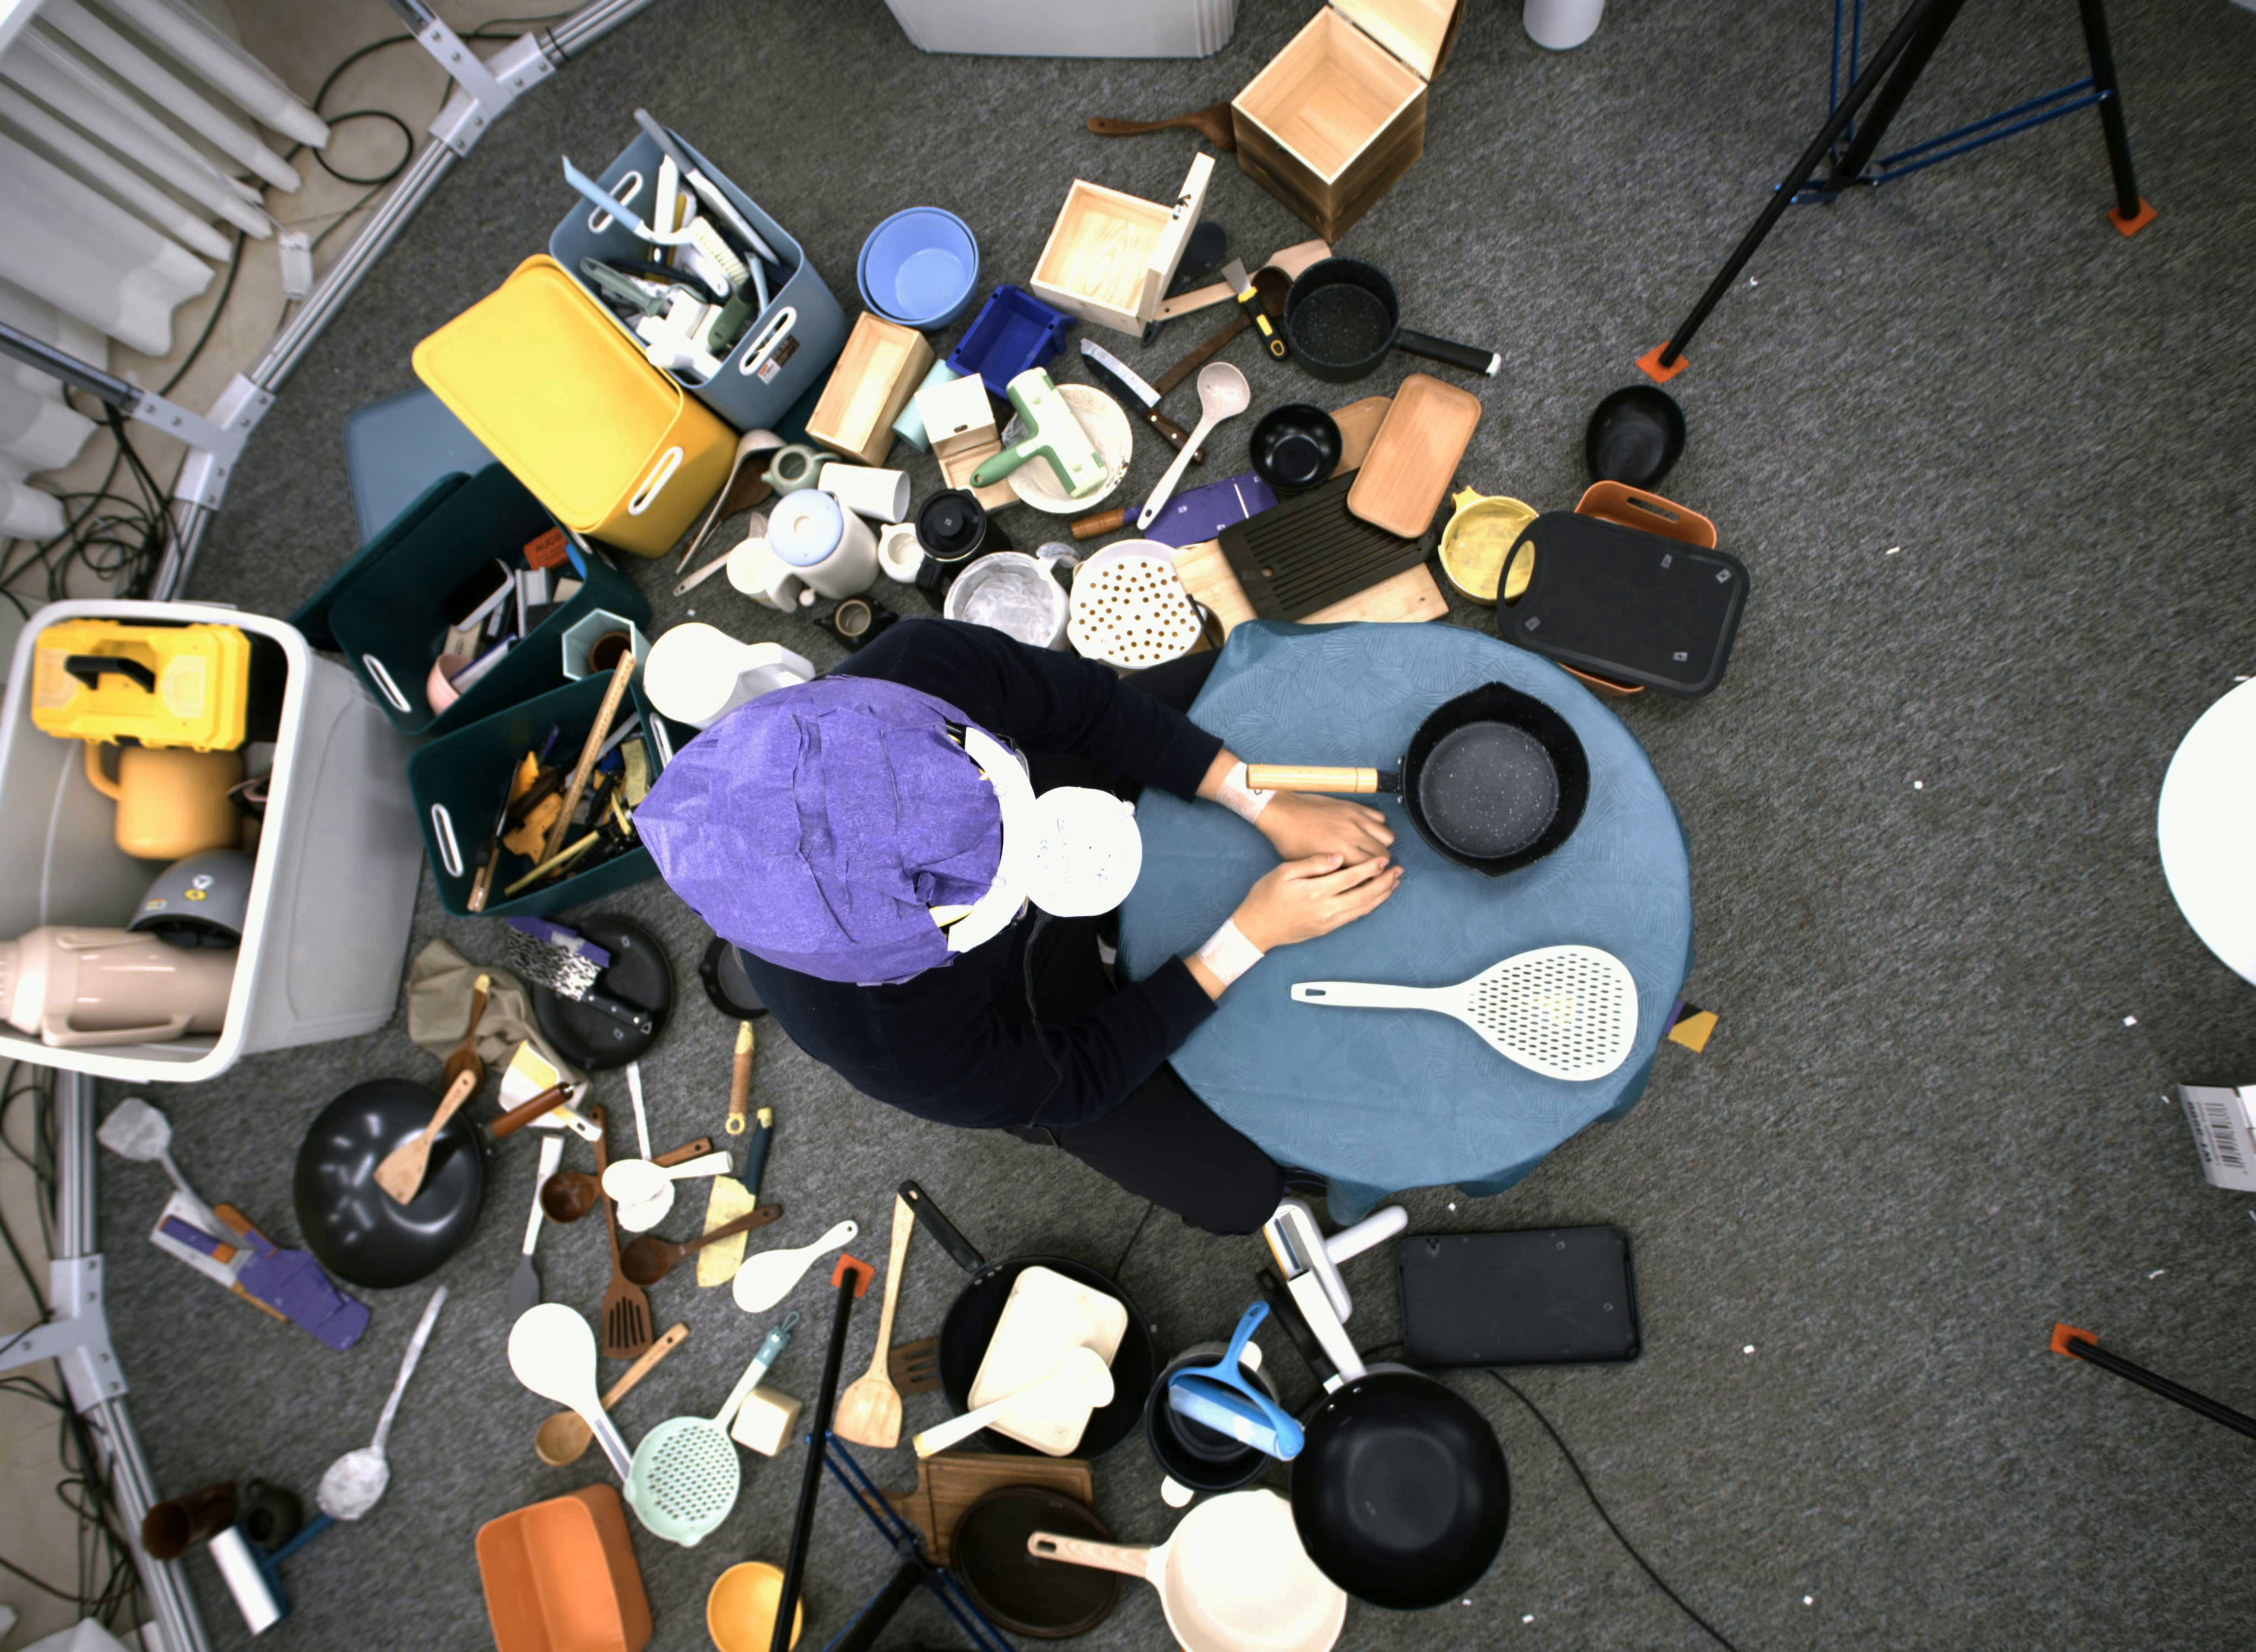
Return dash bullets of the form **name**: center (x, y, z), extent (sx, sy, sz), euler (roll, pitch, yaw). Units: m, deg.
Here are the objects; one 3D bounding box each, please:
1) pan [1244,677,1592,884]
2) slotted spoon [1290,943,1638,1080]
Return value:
- **pan**: center (0.292, -0.044, 1.407), extent (0.344, 0.108, 0.207), euler (-1, 87, 9)
- **slotted spoon**: center (0.341, 0.181, 1.419), extent (0.349, 0.050, 0.136), euler (2, 88, 9)
